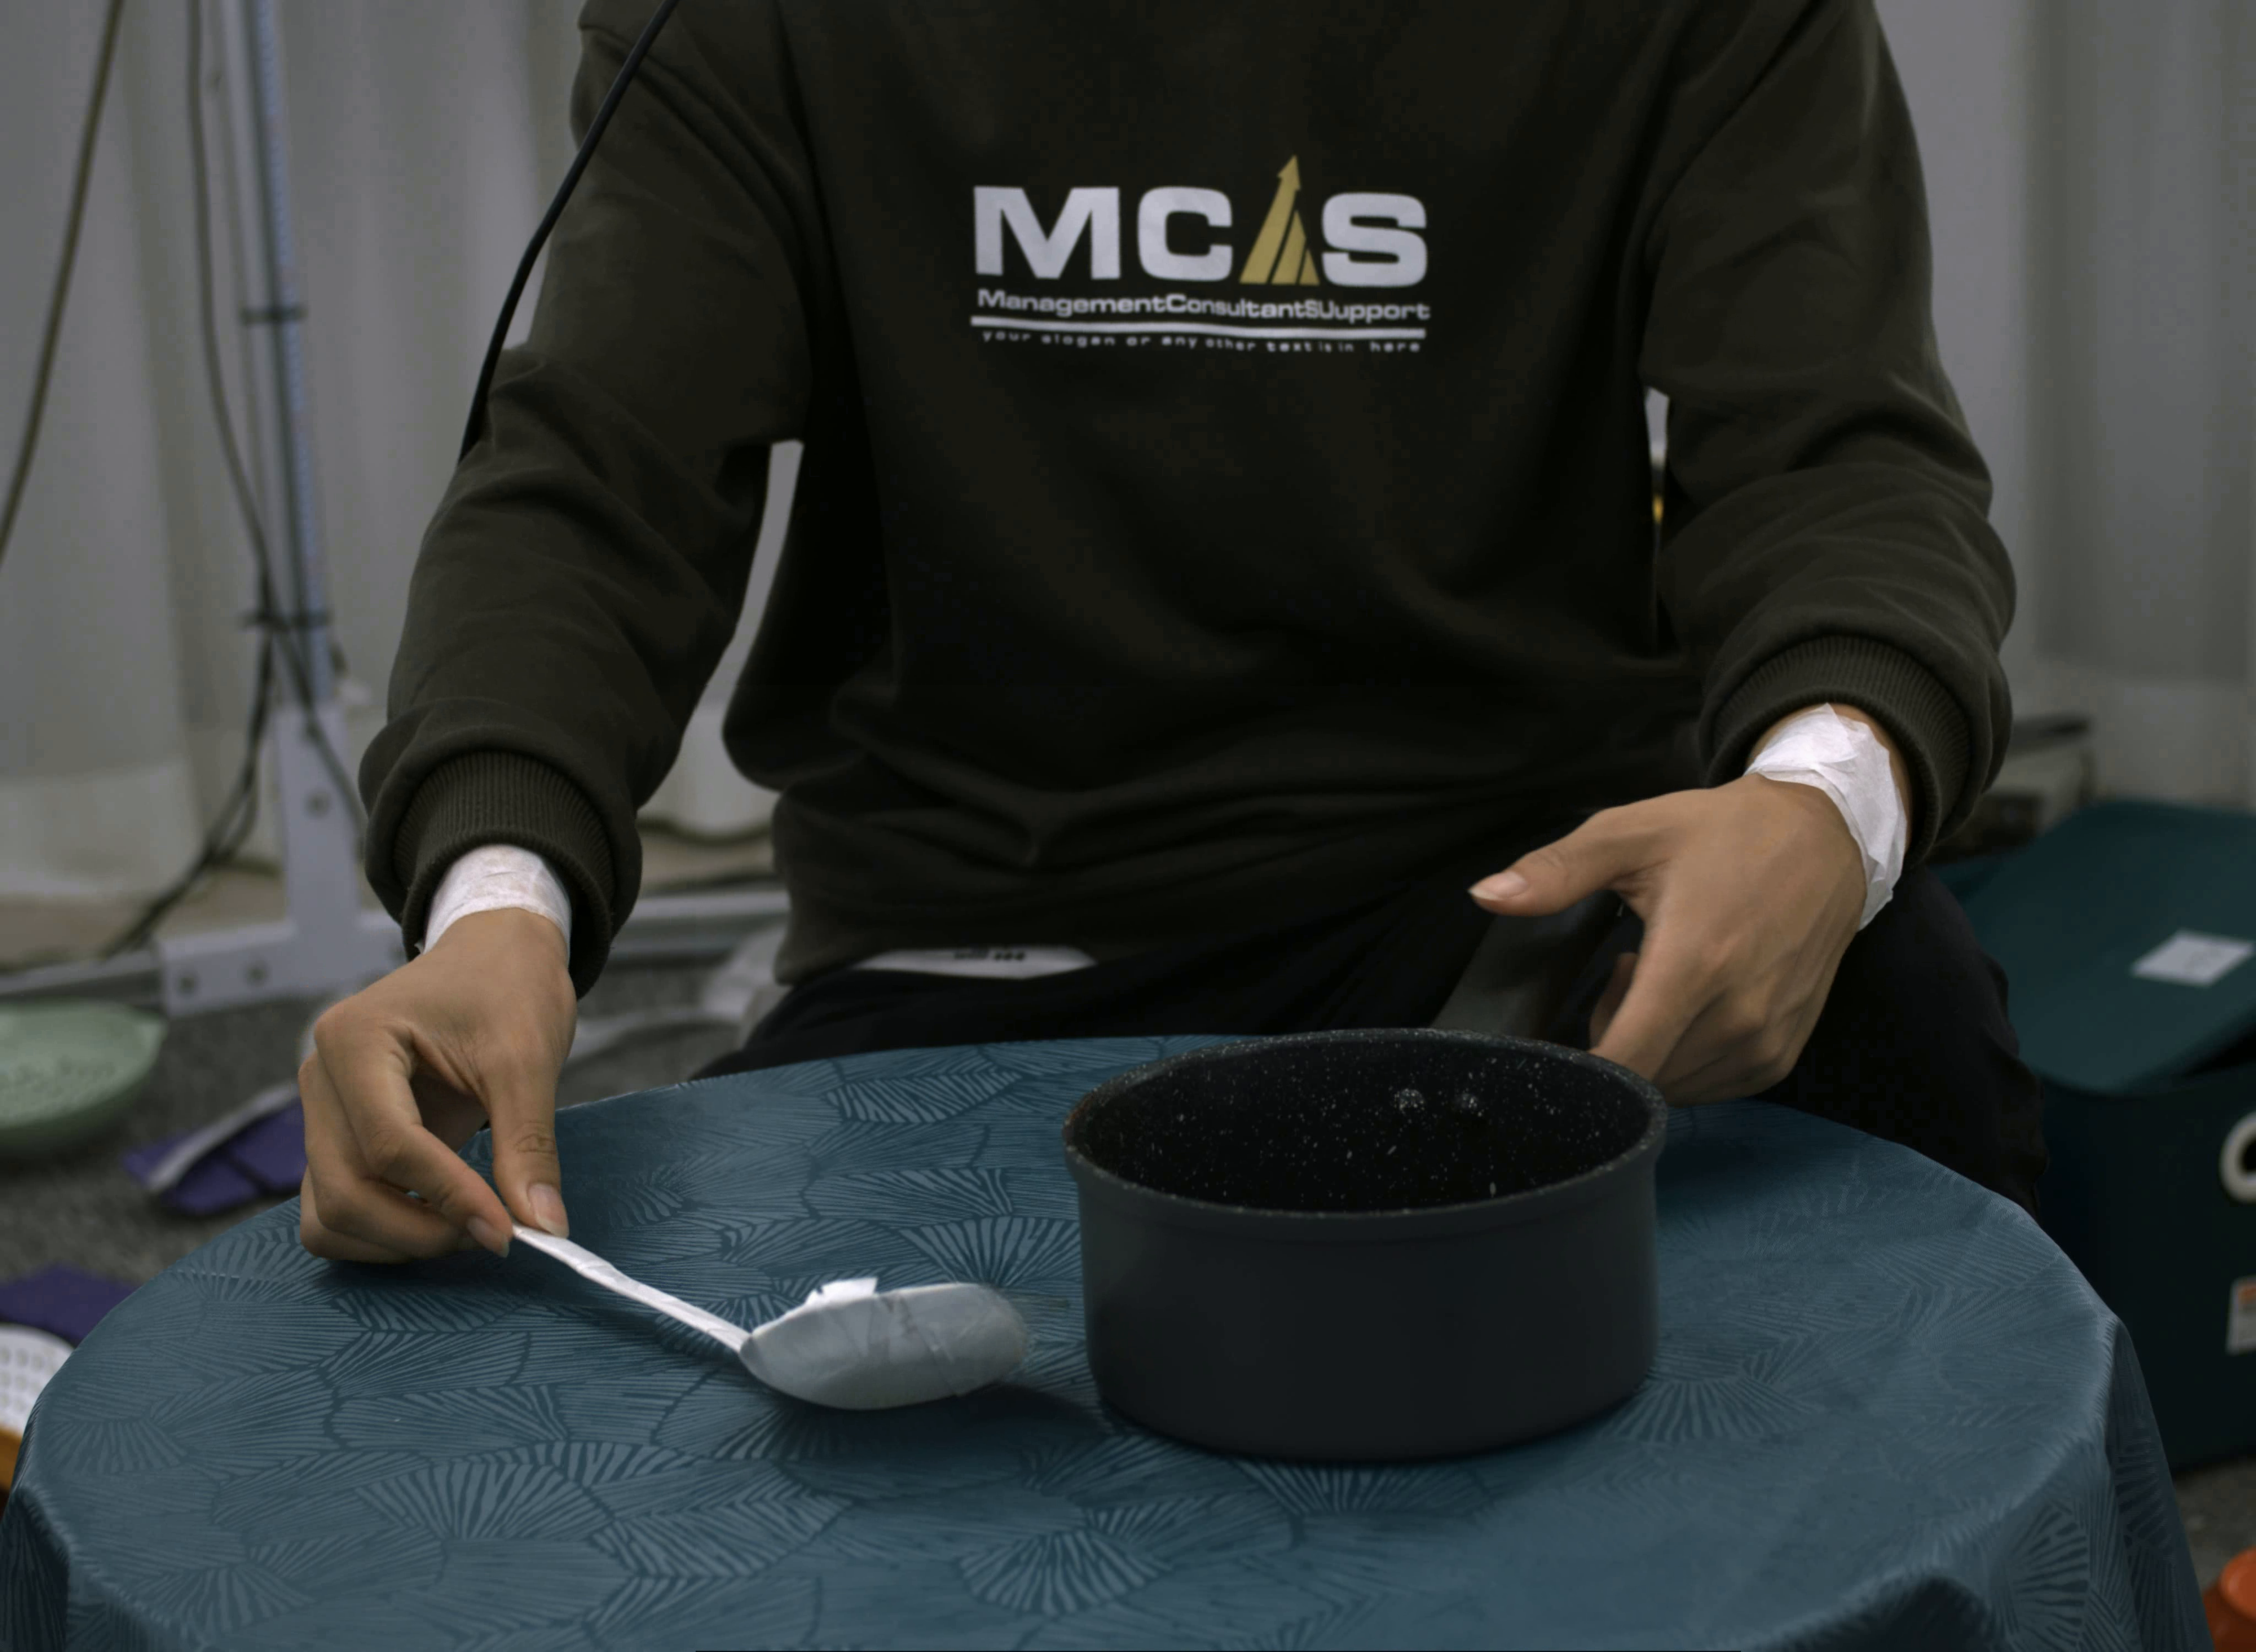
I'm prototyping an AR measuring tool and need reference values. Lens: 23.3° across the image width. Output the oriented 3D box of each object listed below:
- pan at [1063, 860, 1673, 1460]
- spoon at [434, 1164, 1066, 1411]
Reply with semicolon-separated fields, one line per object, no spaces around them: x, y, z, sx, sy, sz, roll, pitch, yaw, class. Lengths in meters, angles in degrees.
0.096;0.094;1.615;0.172;0.086;0.330;4;17;21;pan
-0.120;0.118;1.600;0.100;0.059;0.279;11;7;-39;spoon
